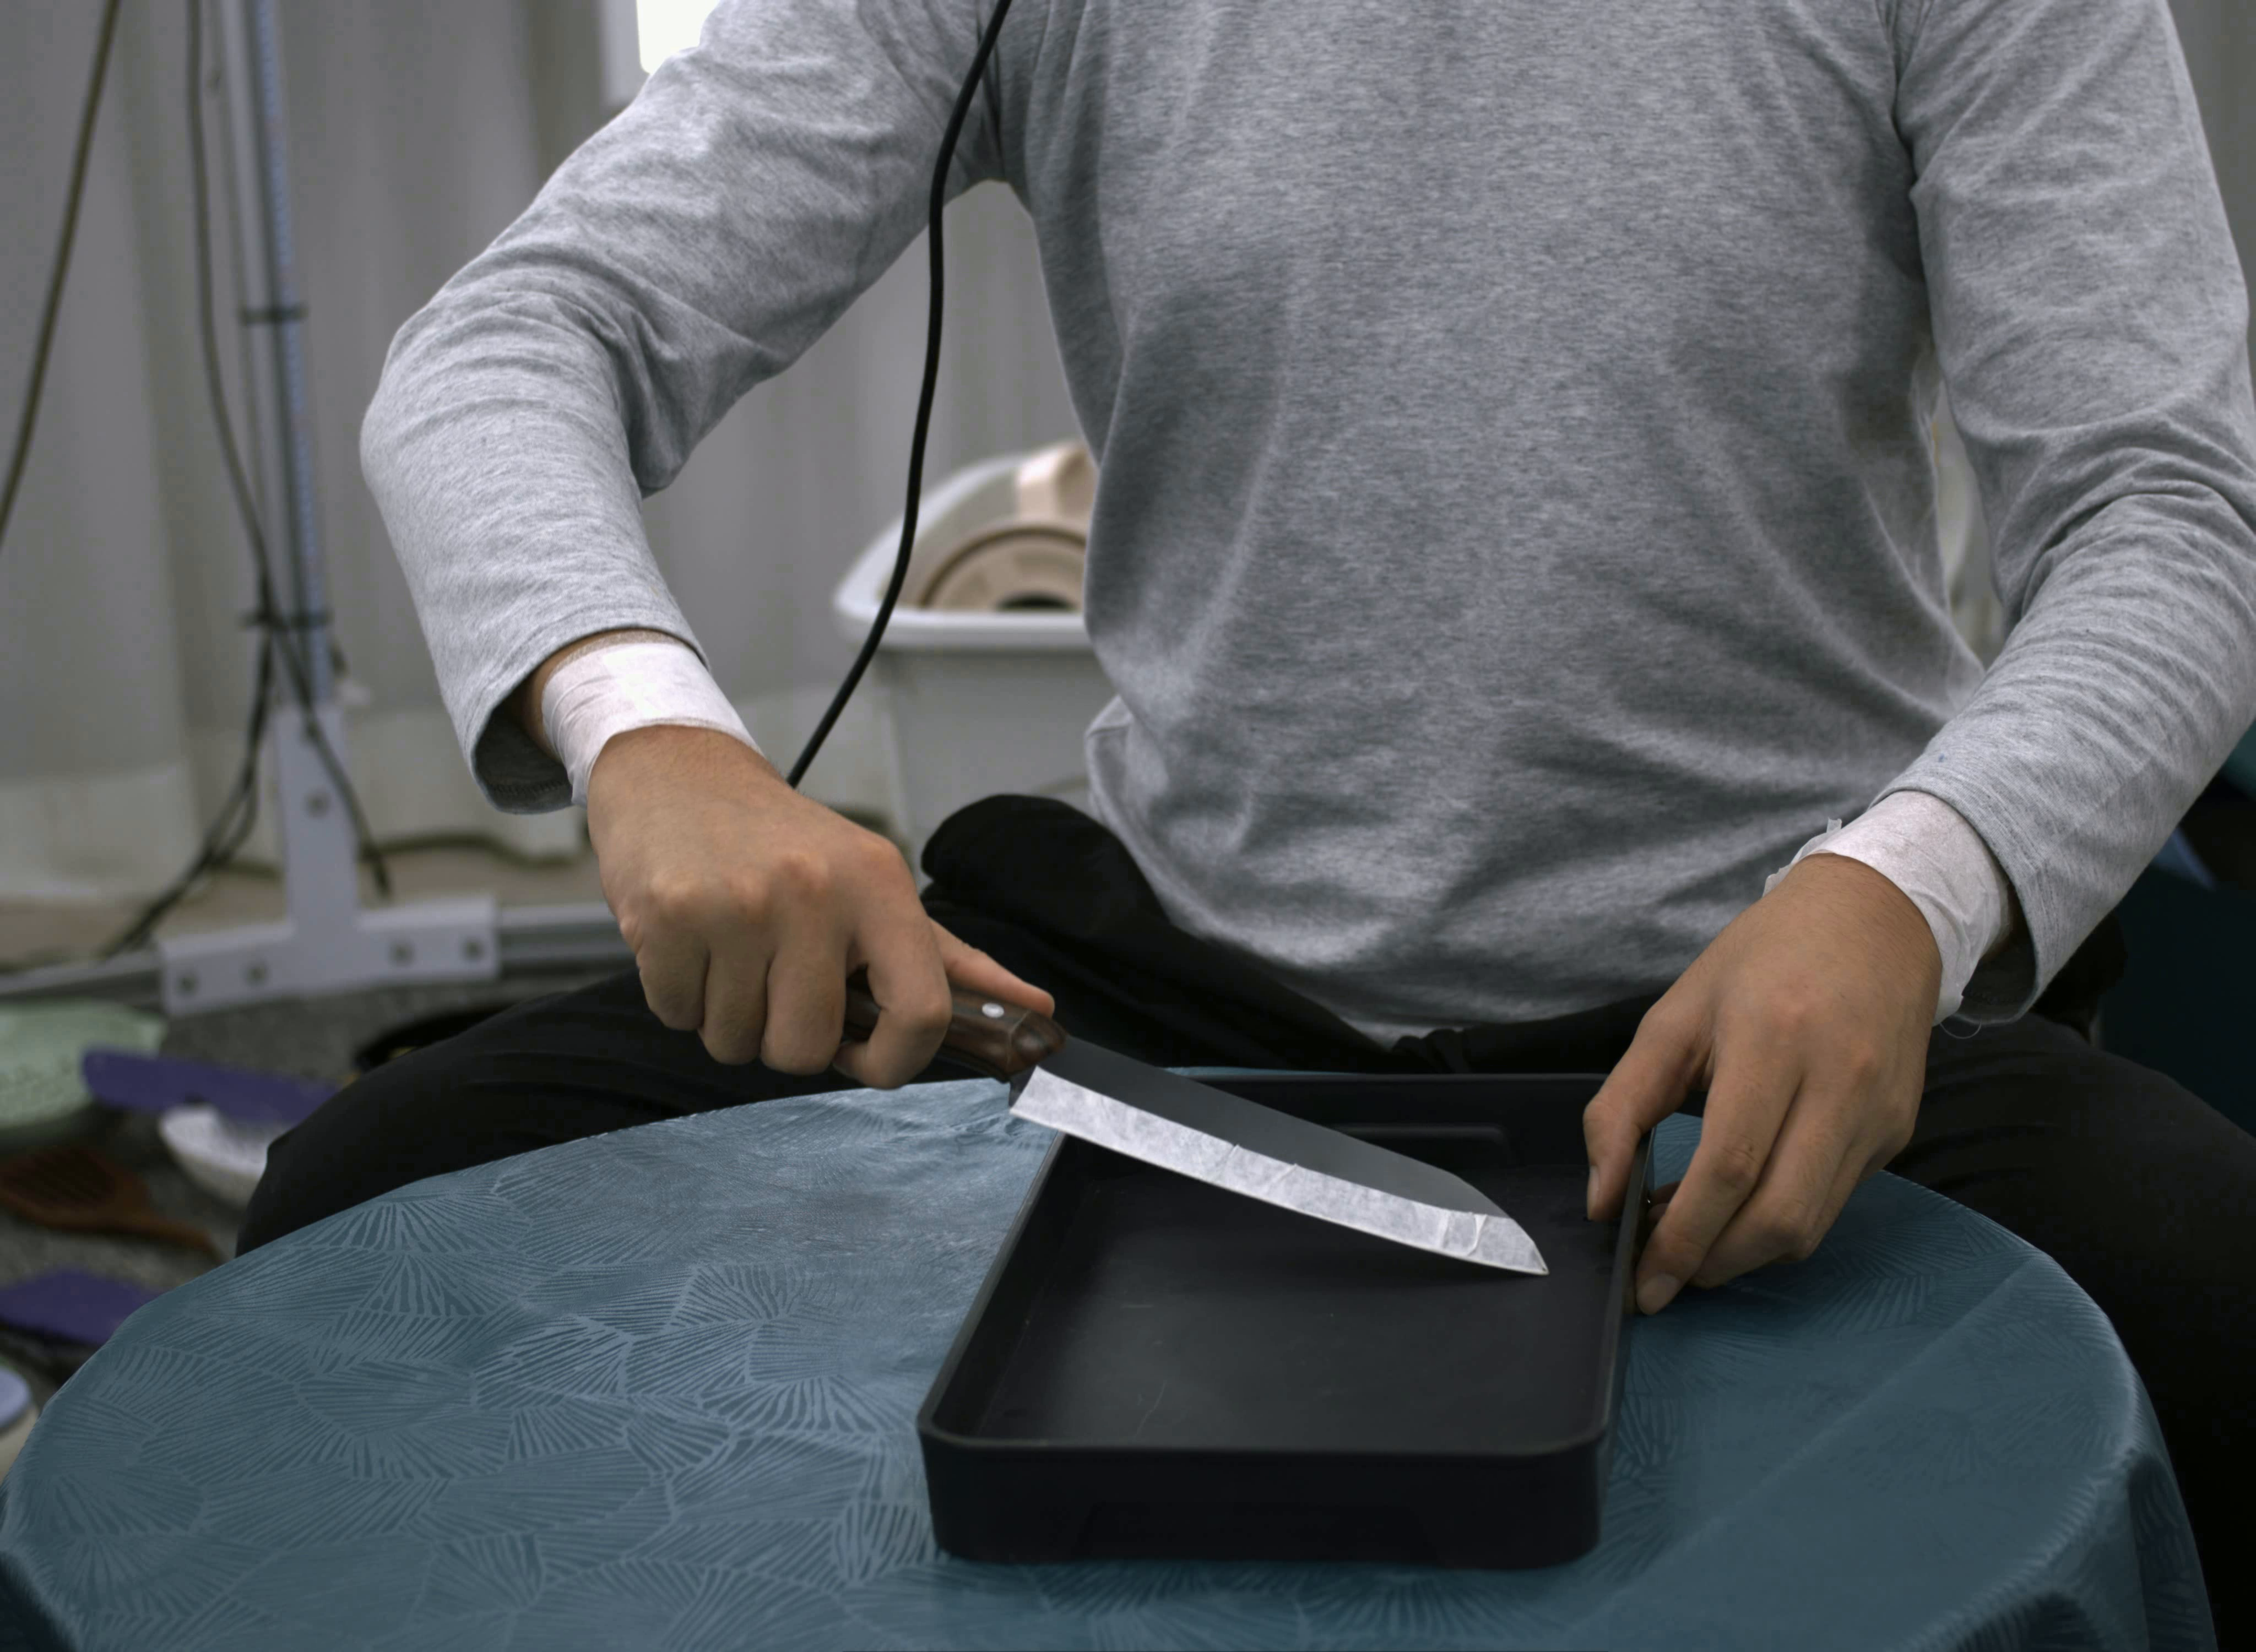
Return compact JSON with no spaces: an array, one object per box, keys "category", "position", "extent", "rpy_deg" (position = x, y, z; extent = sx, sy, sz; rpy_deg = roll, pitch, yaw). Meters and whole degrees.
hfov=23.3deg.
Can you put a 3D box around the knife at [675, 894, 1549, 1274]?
[{"category":"knife","position":[-0.008,0.079,1.642],"extent":[0.289,0.020,0.050],"rpy_deg":[21,37,11]}]

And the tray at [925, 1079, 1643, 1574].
[{"category":"tray","position":[0.053,0.137,1.556],"extent":[0.184,0.037,0.320],"rpy_deg":[-1,14,7]}]
